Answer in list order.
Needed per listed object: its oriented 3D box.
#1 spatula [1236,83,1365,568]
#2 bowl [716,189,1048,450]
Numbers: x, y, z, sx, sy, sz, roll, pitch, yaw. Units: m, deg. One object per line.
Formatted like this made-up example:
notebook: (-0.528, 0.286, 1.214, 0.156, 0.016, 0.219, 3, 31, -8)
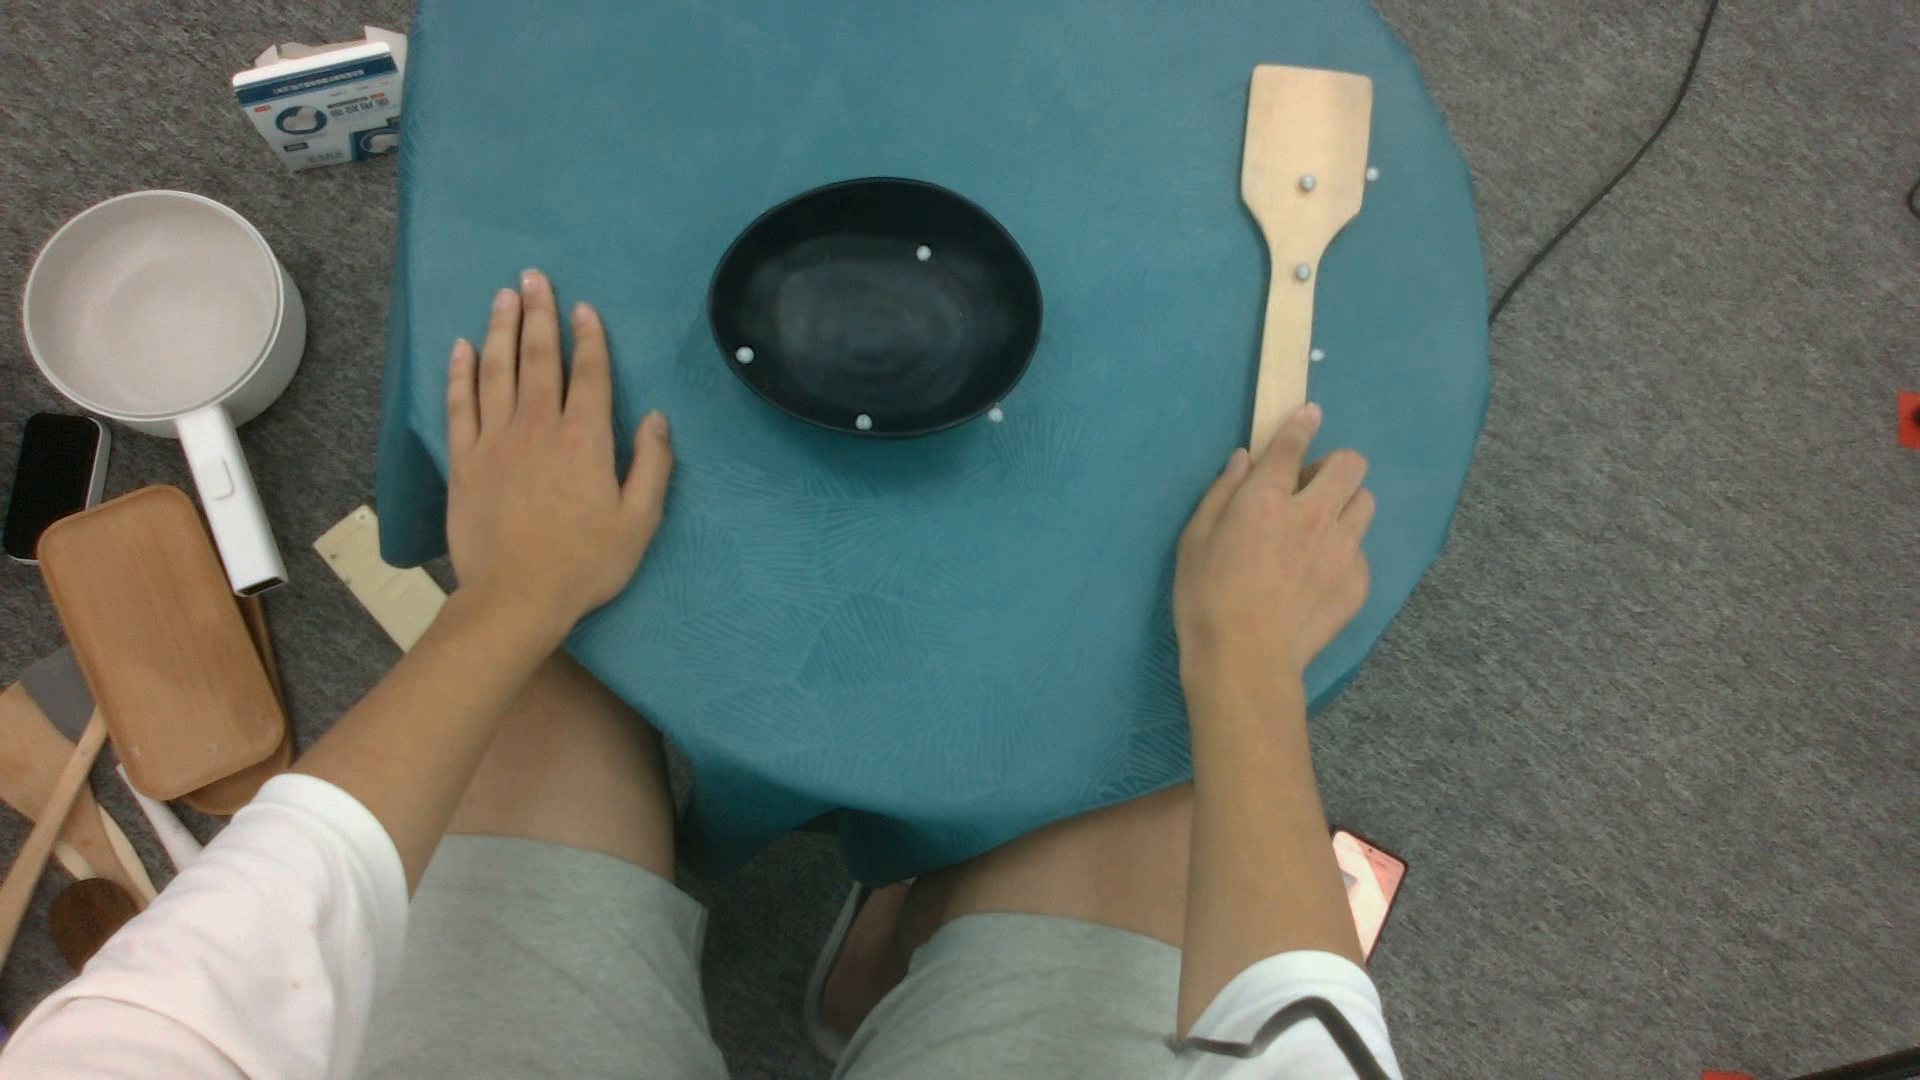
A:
spatula: (0.187, -0.126, 0.782, 0.072, 0.010, 0.293, 7, 76, 2)
bowl: (-0.041, -0.108, 0.728, 0.170, 0.066, 0.137, -2, 79, -6)
